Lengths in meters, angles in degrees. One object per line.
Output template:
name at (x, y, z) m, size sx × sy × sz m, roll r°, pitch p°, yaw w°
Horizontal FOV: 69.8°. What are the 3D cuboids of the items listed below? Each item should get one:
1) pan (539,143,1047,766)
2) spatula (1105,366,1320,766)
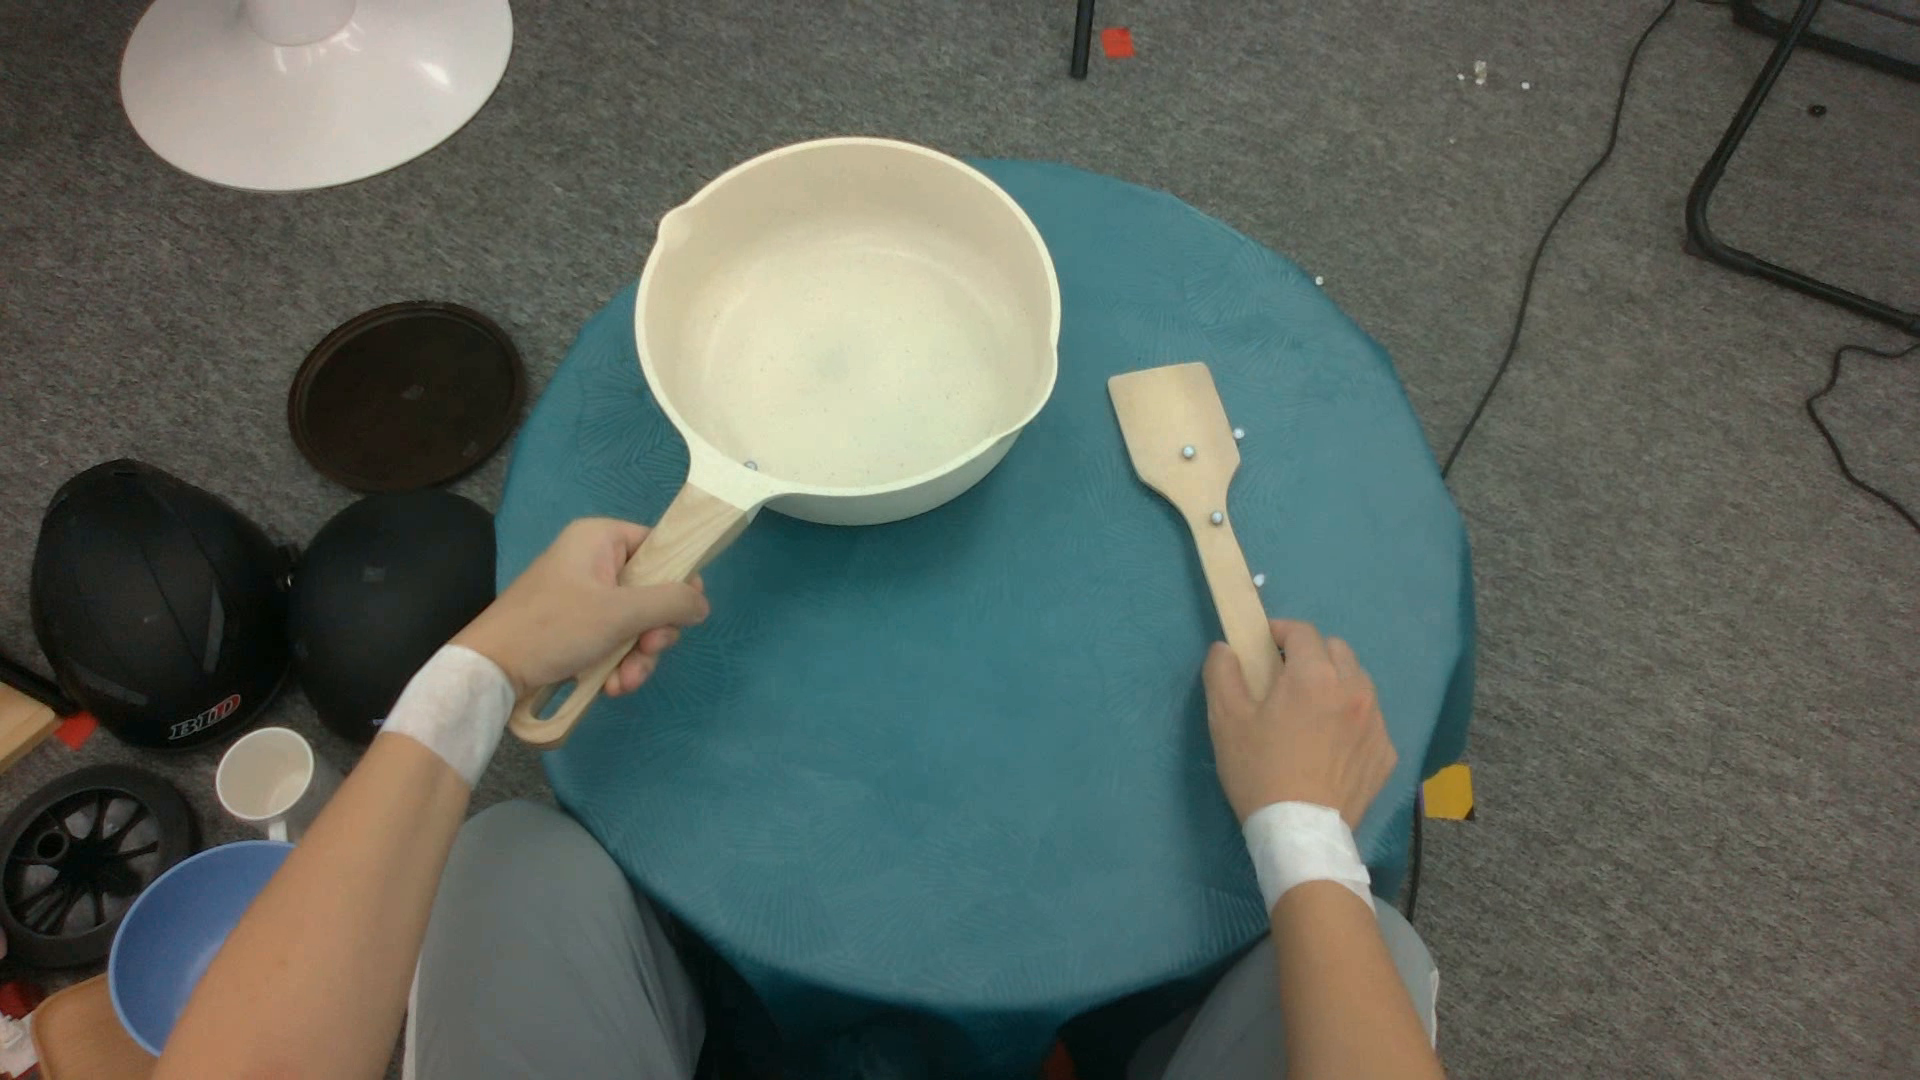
pan at (-0.113, -0.050, 0.824) m, size 0.263 × 0.101 × 0.436 m, roll 25°, pitch 68°, yaw 10°
spatula at (0.161, 0.007, 0.851) m, size 0.072 × 0.010 × 0.294 m, roll -11°, pitch 56°, yaw -5°
